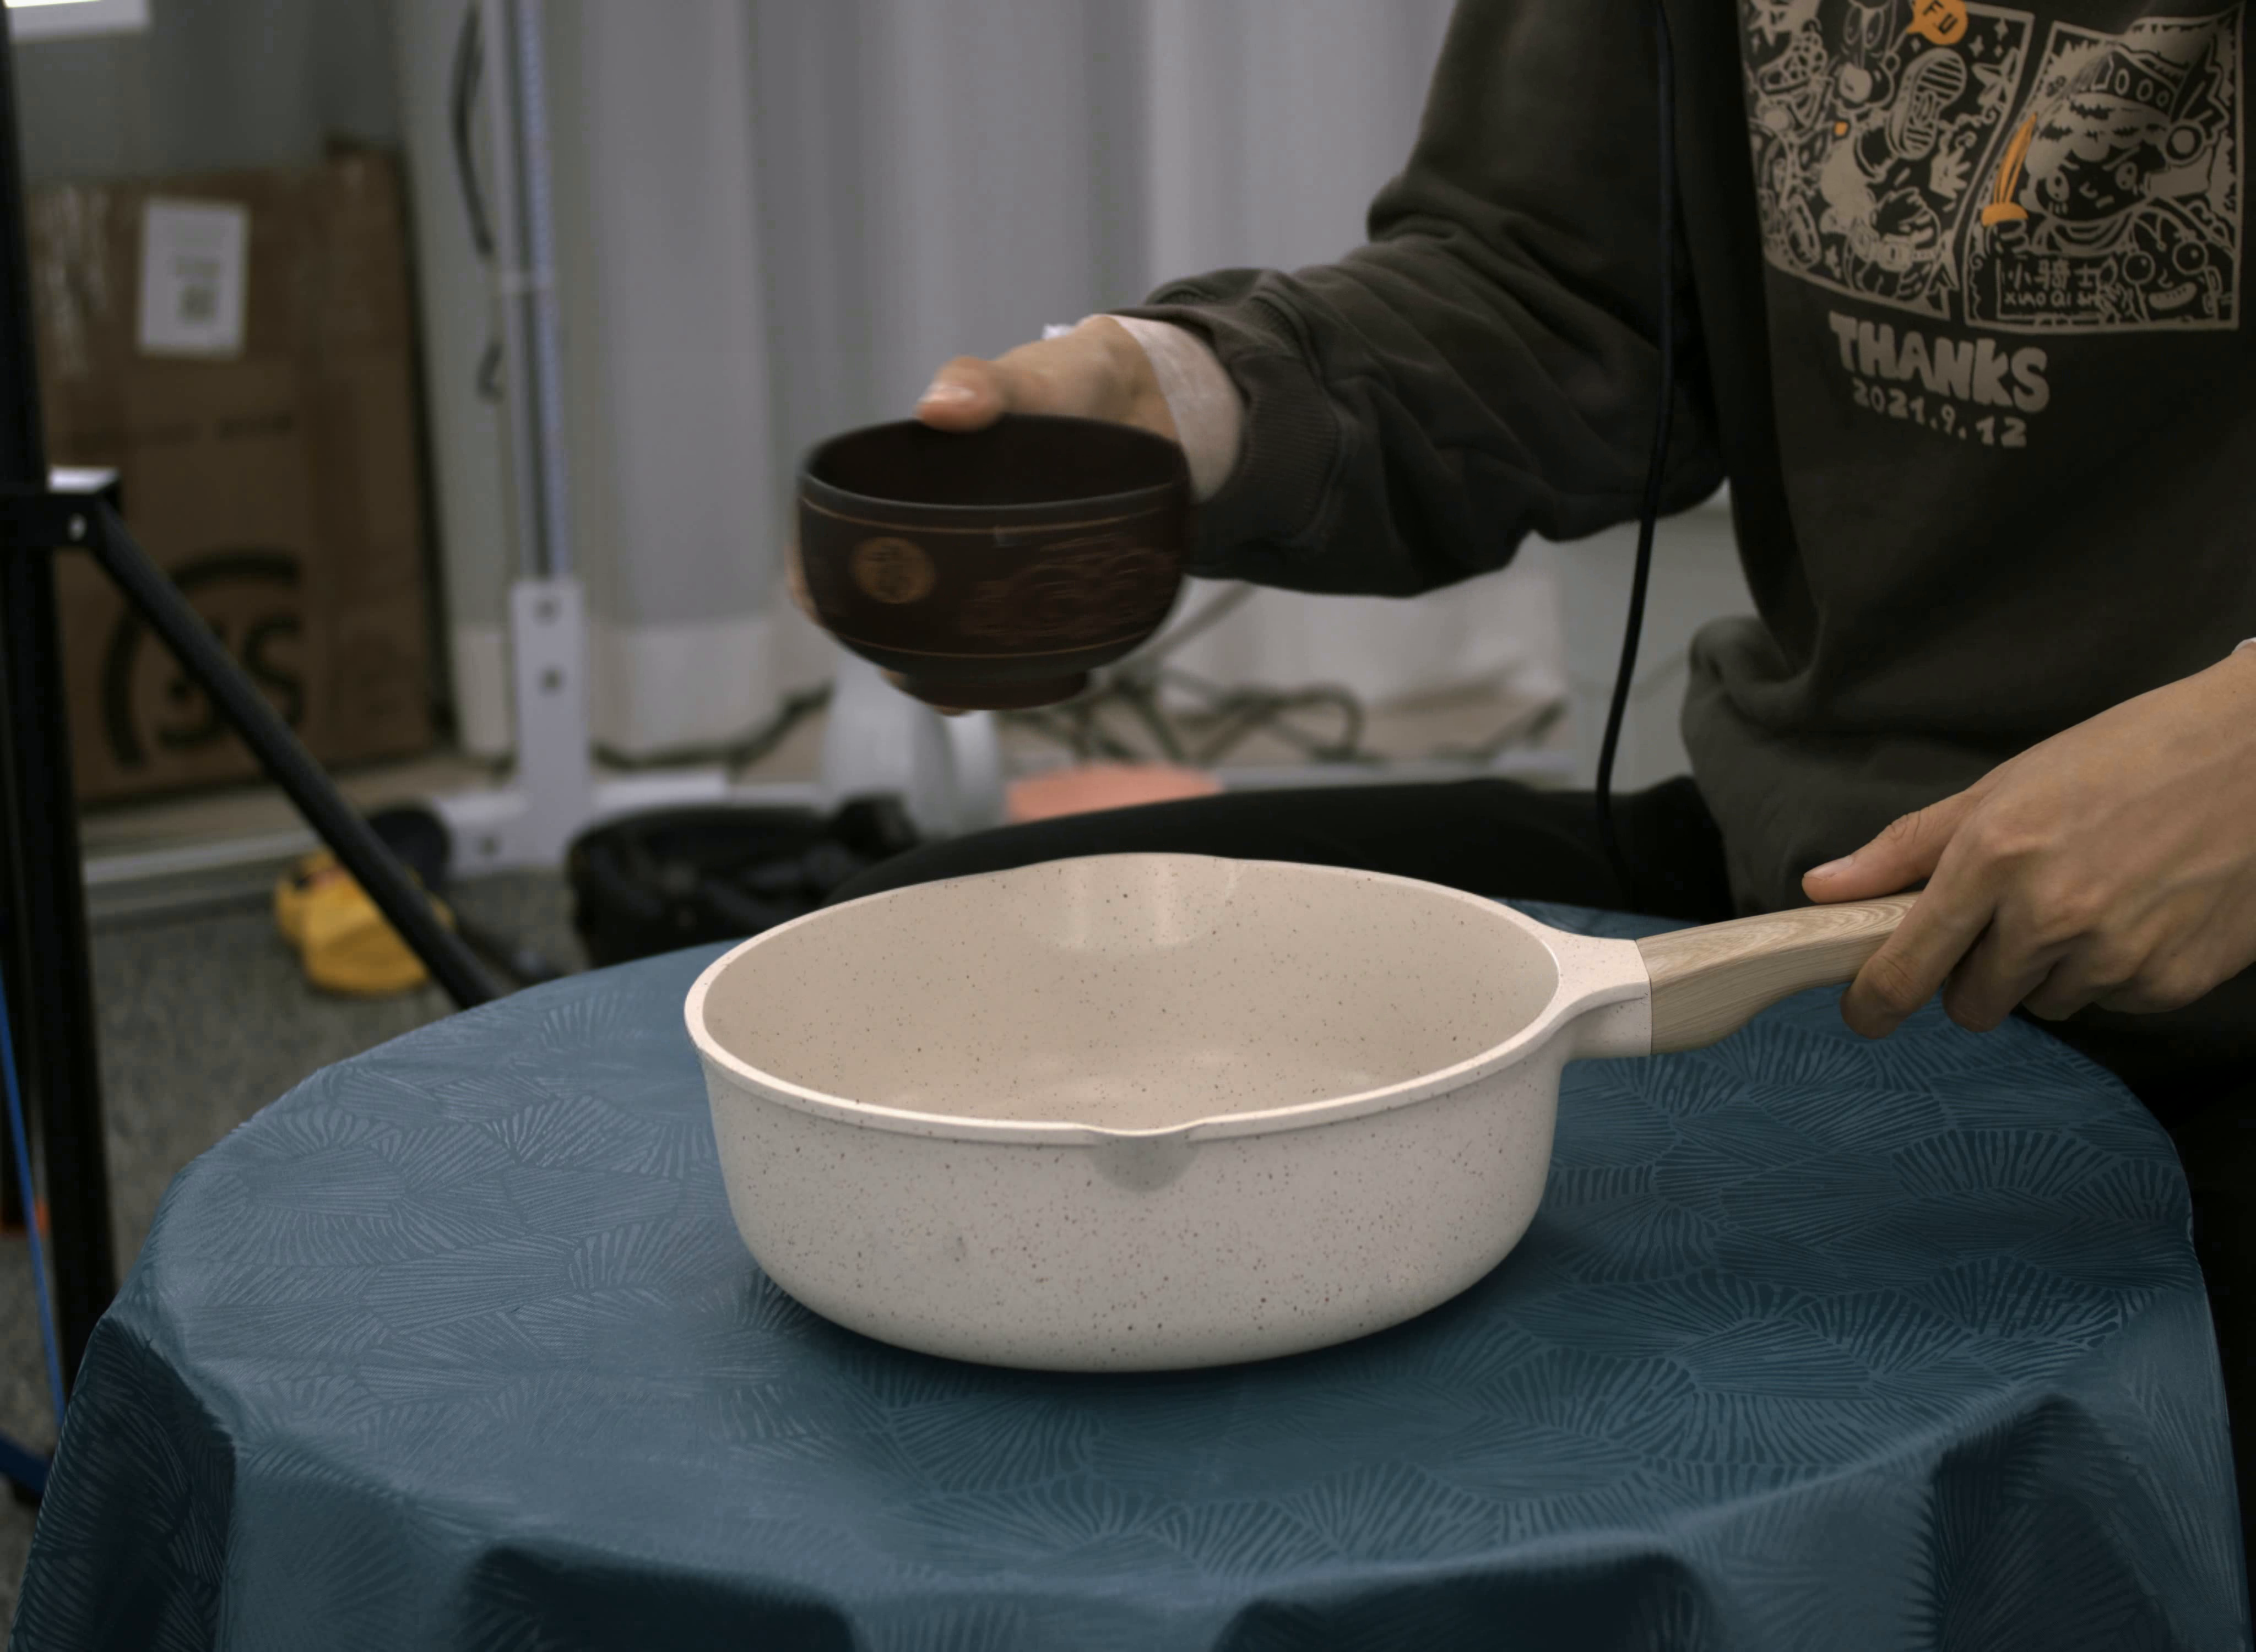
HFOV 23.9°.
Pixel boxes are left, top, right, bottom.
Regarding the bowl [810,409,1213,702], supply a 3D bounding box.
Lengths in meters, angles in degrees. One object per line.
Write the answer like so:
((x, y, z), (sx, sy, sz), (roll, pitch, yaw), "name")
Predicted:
((-0.034, -0.077, 1.557), (0.117, 0.070, 0.118), (-2, 15, -1), "bowl")

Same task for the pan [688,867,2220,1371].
((0.094, 0.073, 1.492), (0.433, 0.102, 0.264), (-2, 14, 0), "pan")
